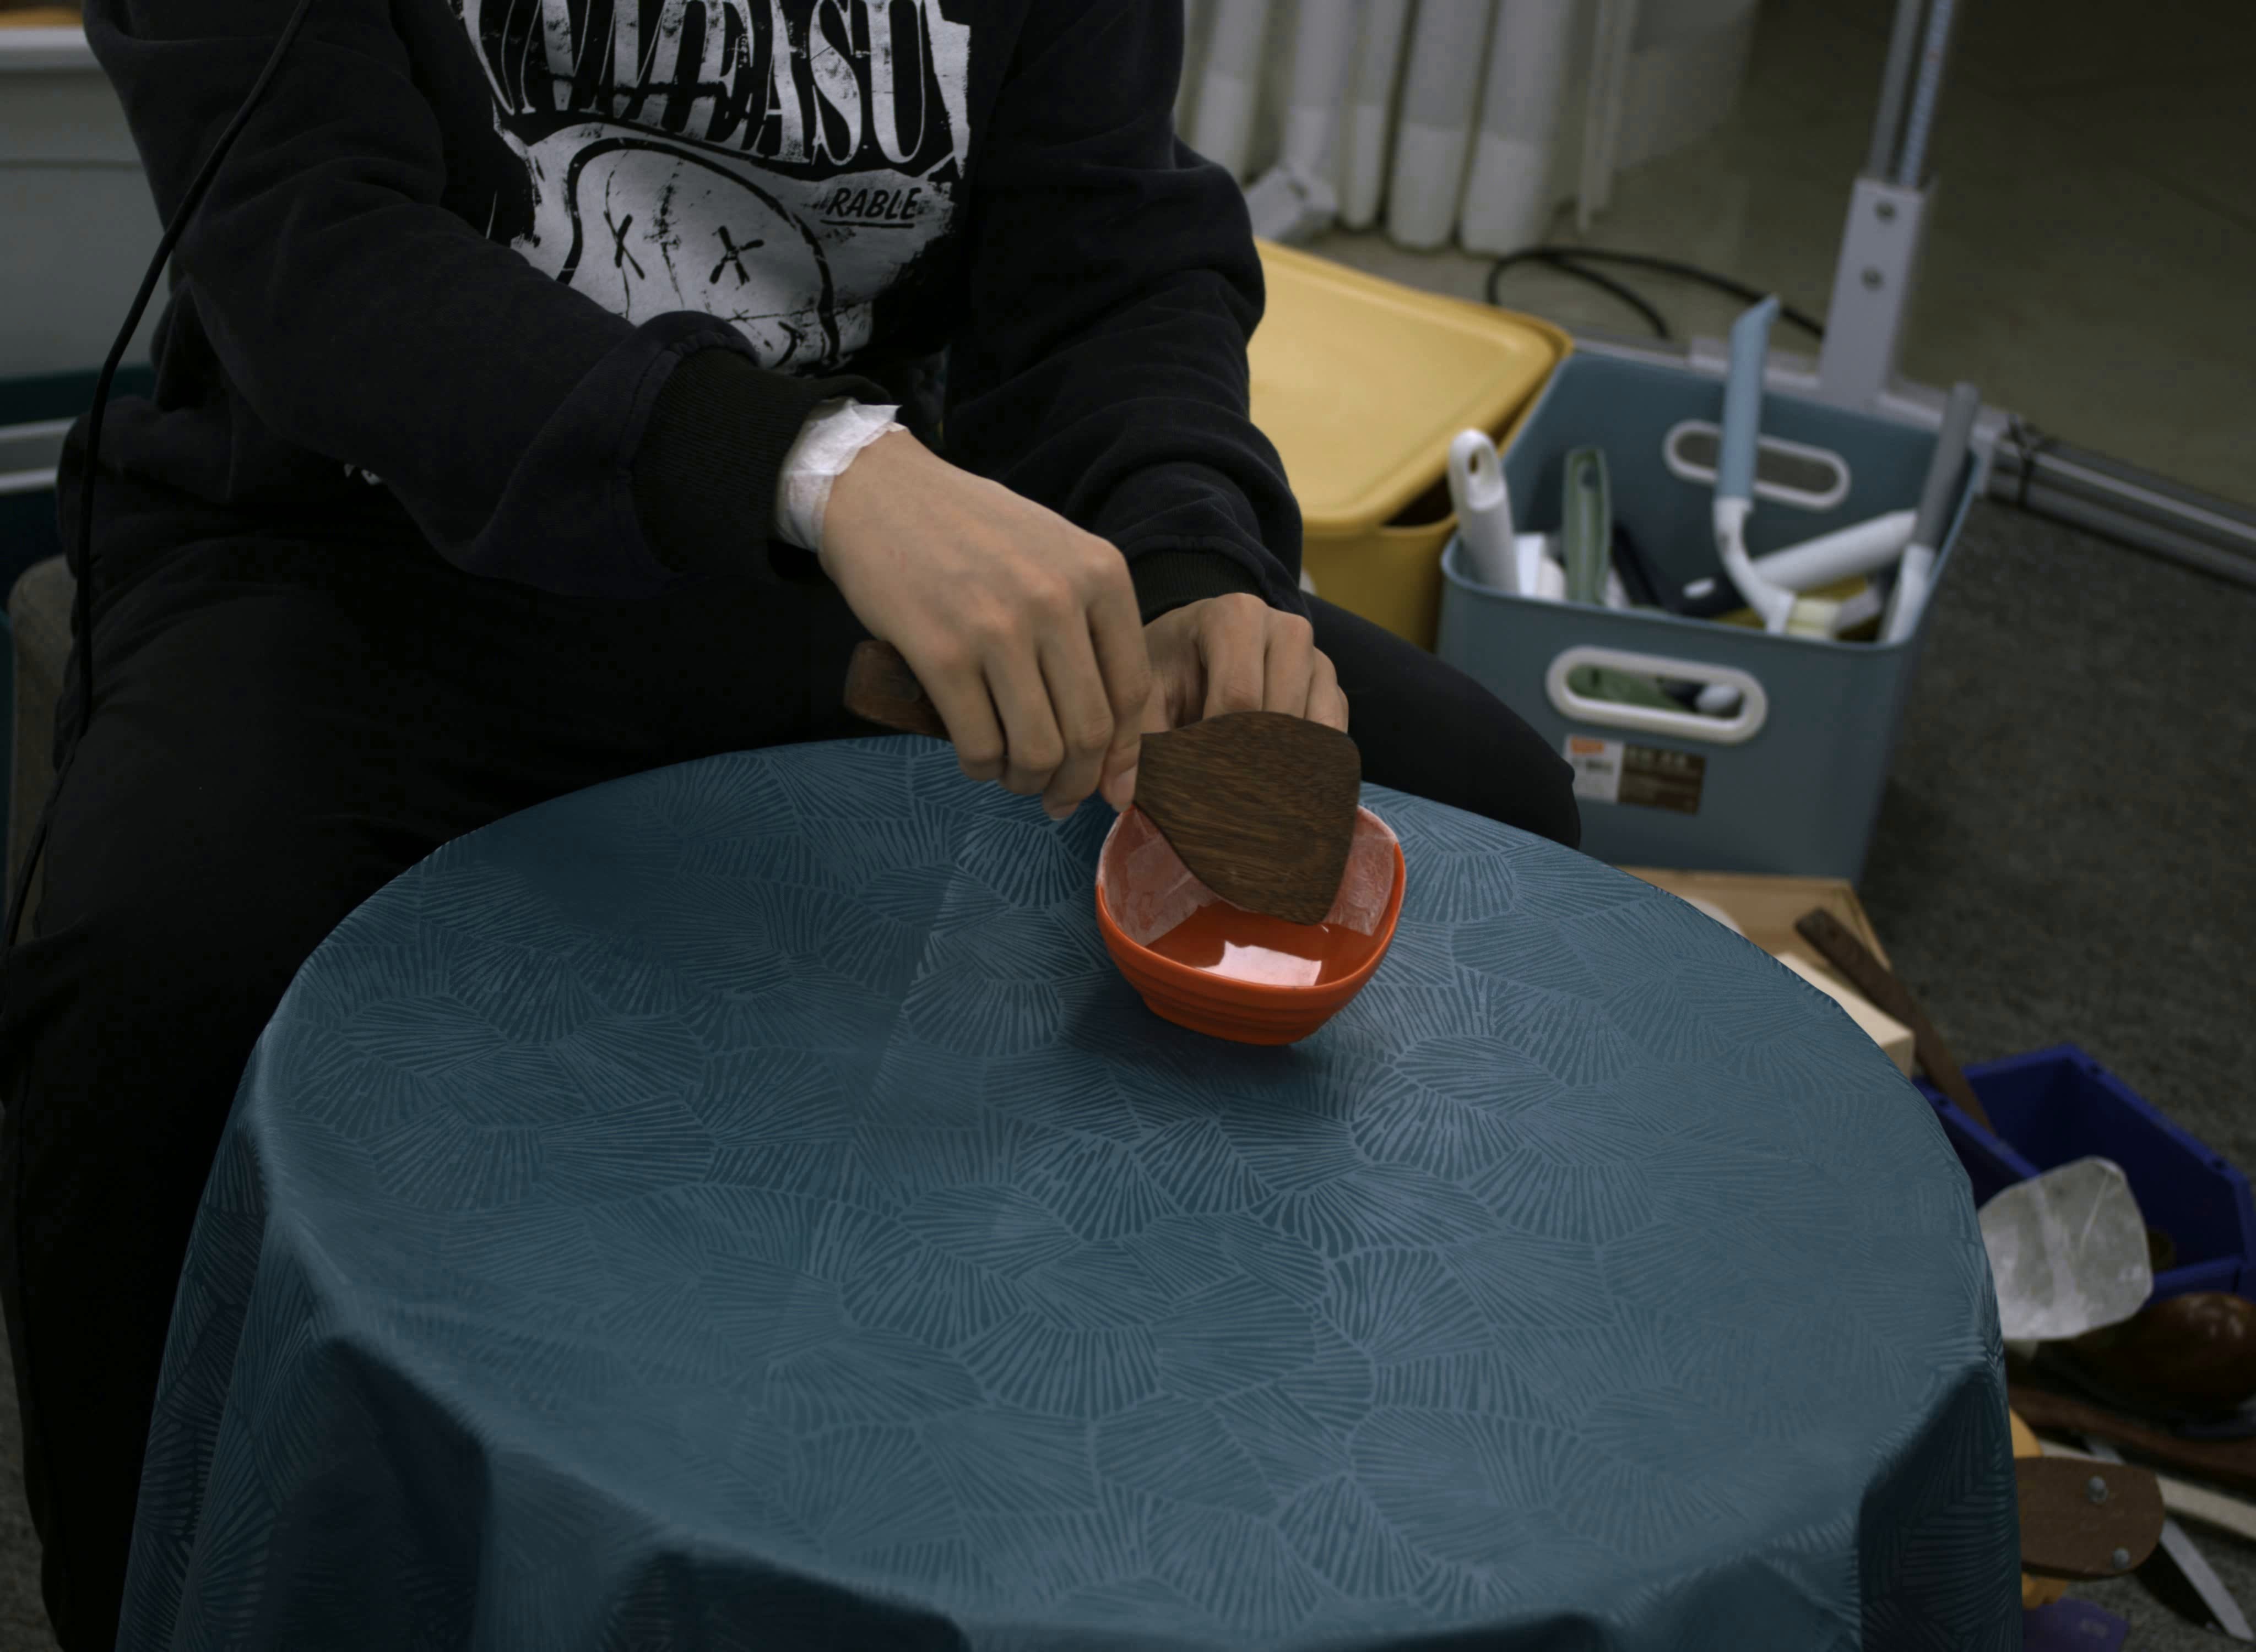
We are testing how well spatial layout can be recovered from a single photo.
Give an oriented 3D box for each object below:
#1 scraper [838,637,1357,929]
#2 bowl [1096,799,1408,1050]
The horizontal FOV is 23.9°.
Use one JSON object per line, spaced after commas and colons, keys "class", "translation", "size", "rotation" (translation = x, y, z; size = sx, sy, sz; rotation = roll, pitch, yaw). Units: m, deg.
{"class": "scraper", "translation": [-0.010, -0.025, 1.868], "size": [0.209, 0.076, 0.011], "rotation": [19, -11, -29]}
{"class": "bowl", "translation": [0.042, 0.037, 1.910], "size": [0.118, 0.051, 0.120], "rotation": [3, 44, -3]}
